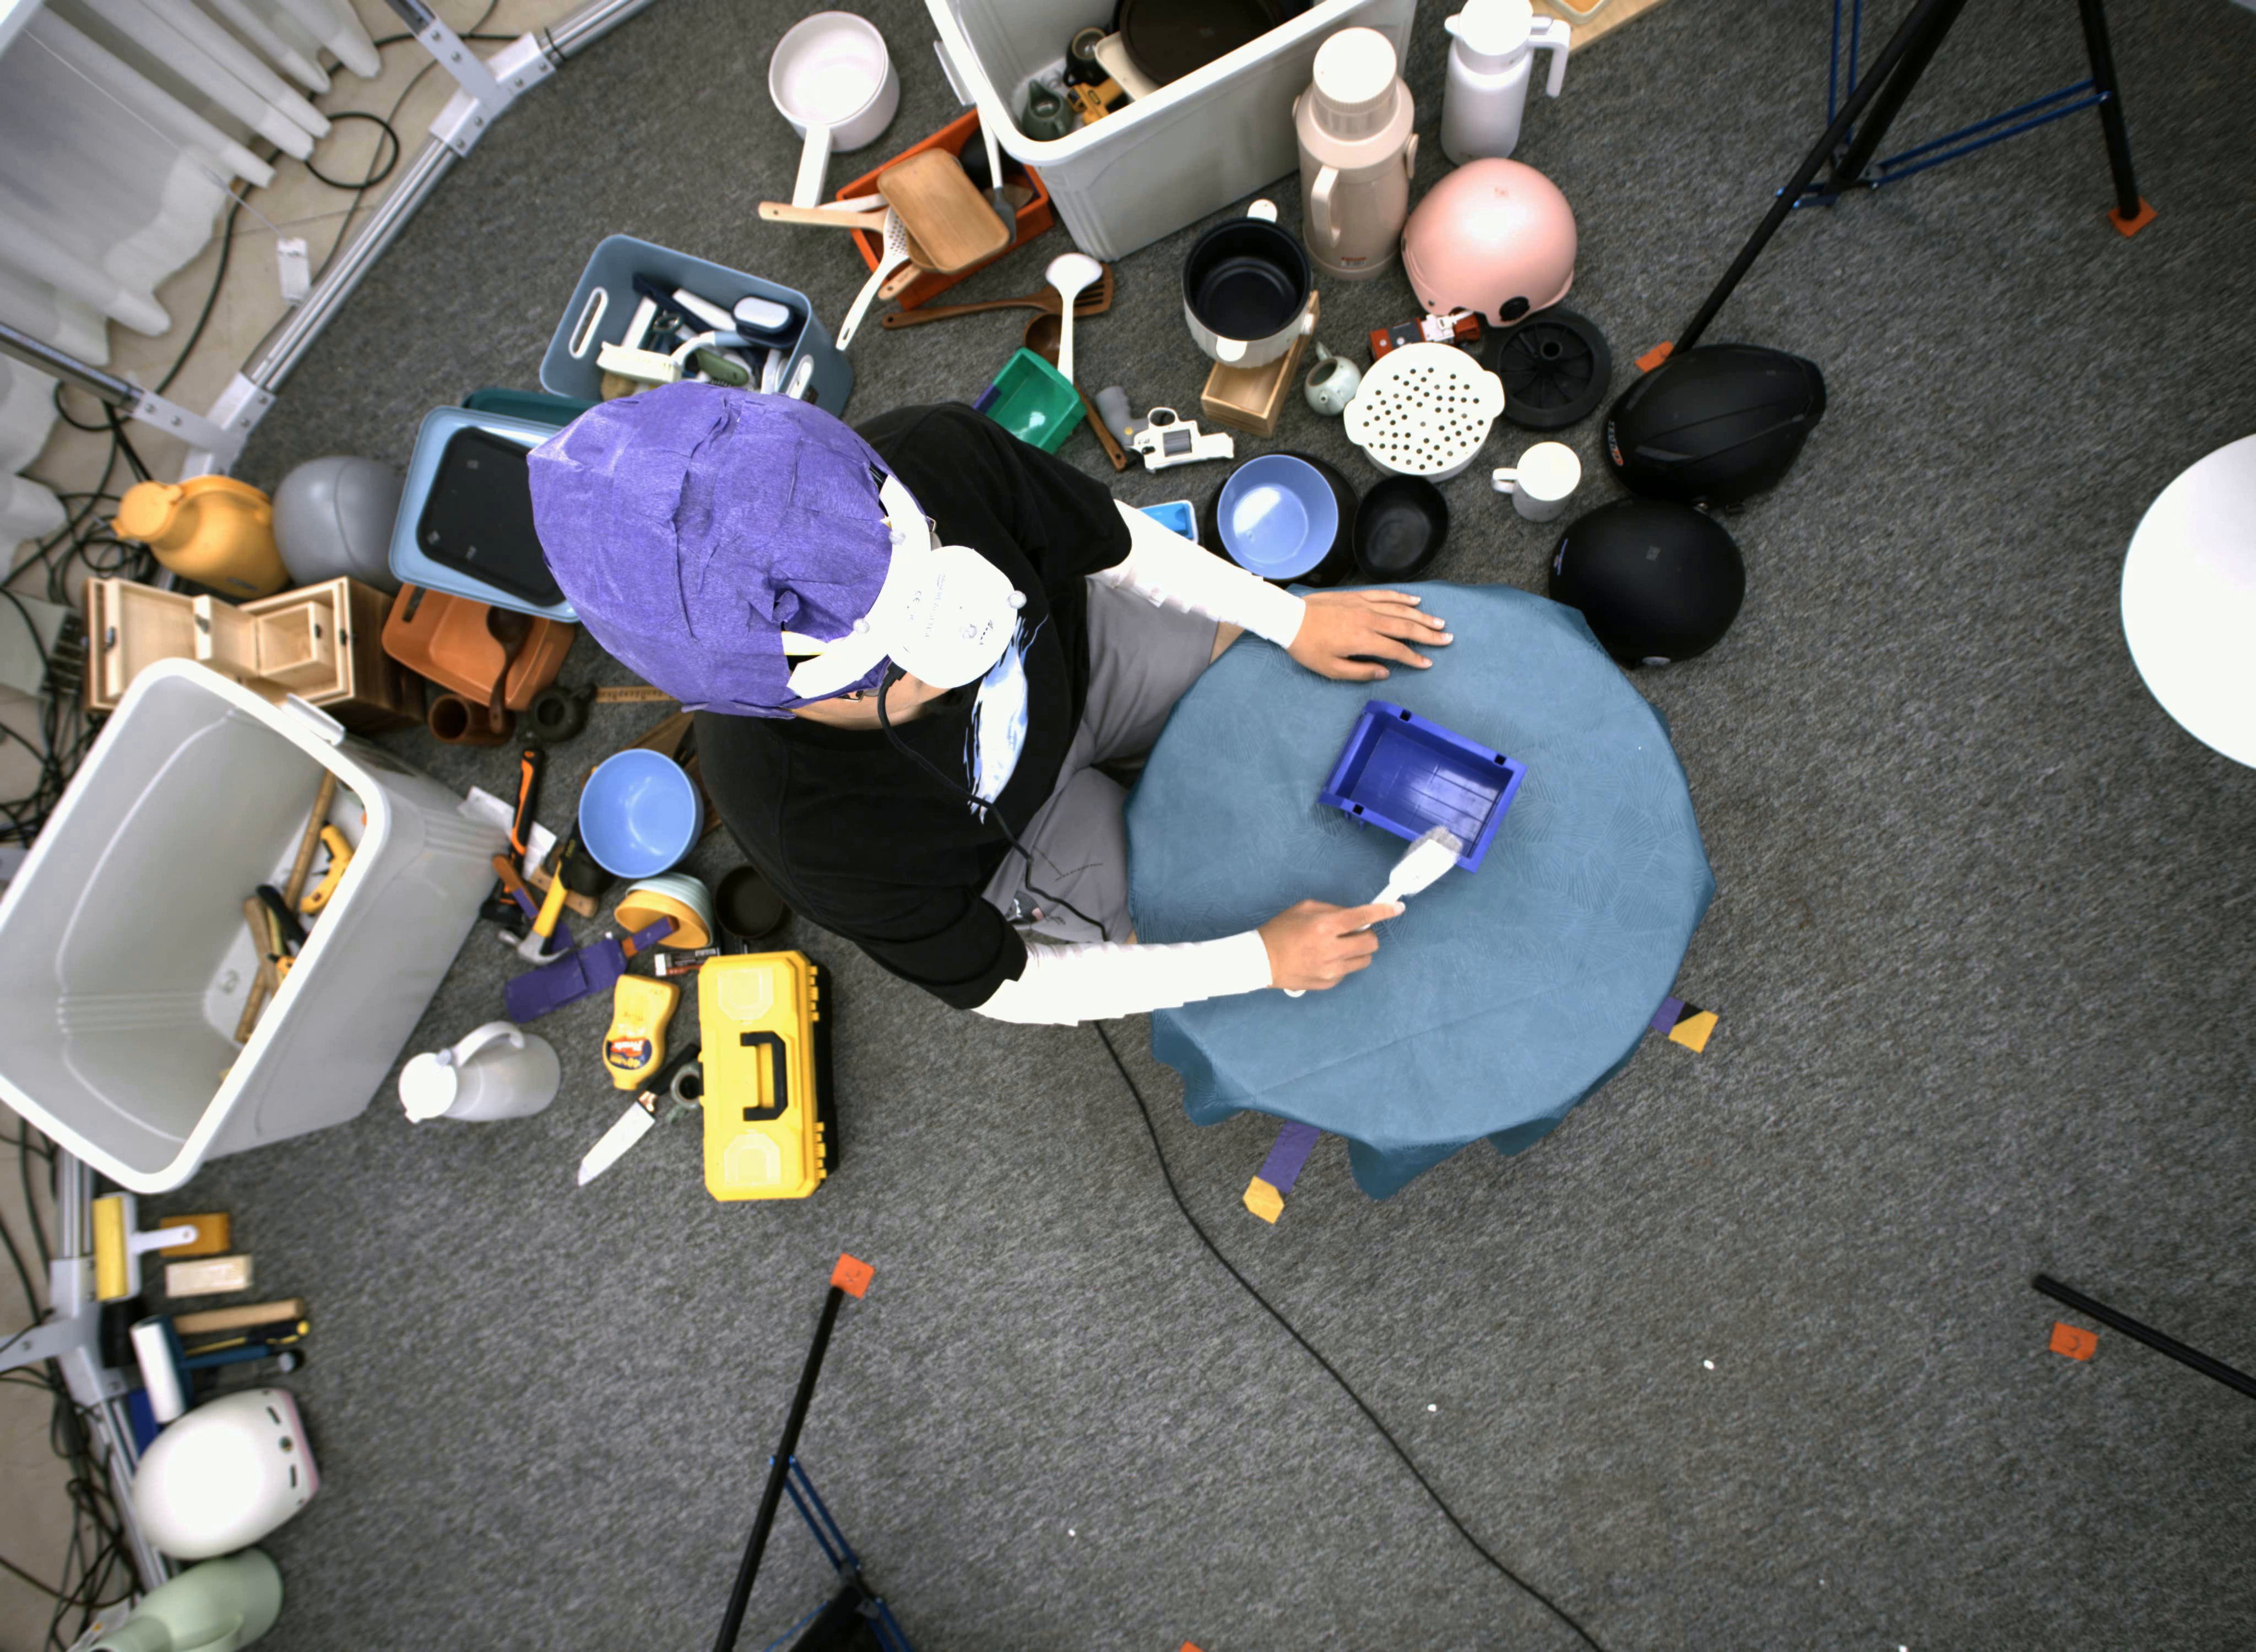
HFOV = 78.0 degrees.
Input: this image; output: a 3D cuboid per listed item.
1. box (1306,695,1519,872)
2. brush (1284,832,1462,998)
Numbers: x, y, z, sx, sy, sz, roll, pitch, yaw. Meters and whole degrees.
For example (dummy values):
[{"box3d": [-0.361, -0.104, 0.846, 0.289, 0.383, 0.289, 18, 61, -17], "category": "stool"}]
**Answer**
[{"box3d": [0.290, -0.045, 1.420, 0.179, 0.082, 0.124, 29, 92, 10], "category": "box"}, {"box3d": [0.245, 0.091, 1.406, 0.034, 0.049, 0.249, 39, 123, -5], "category": "brush"}]
